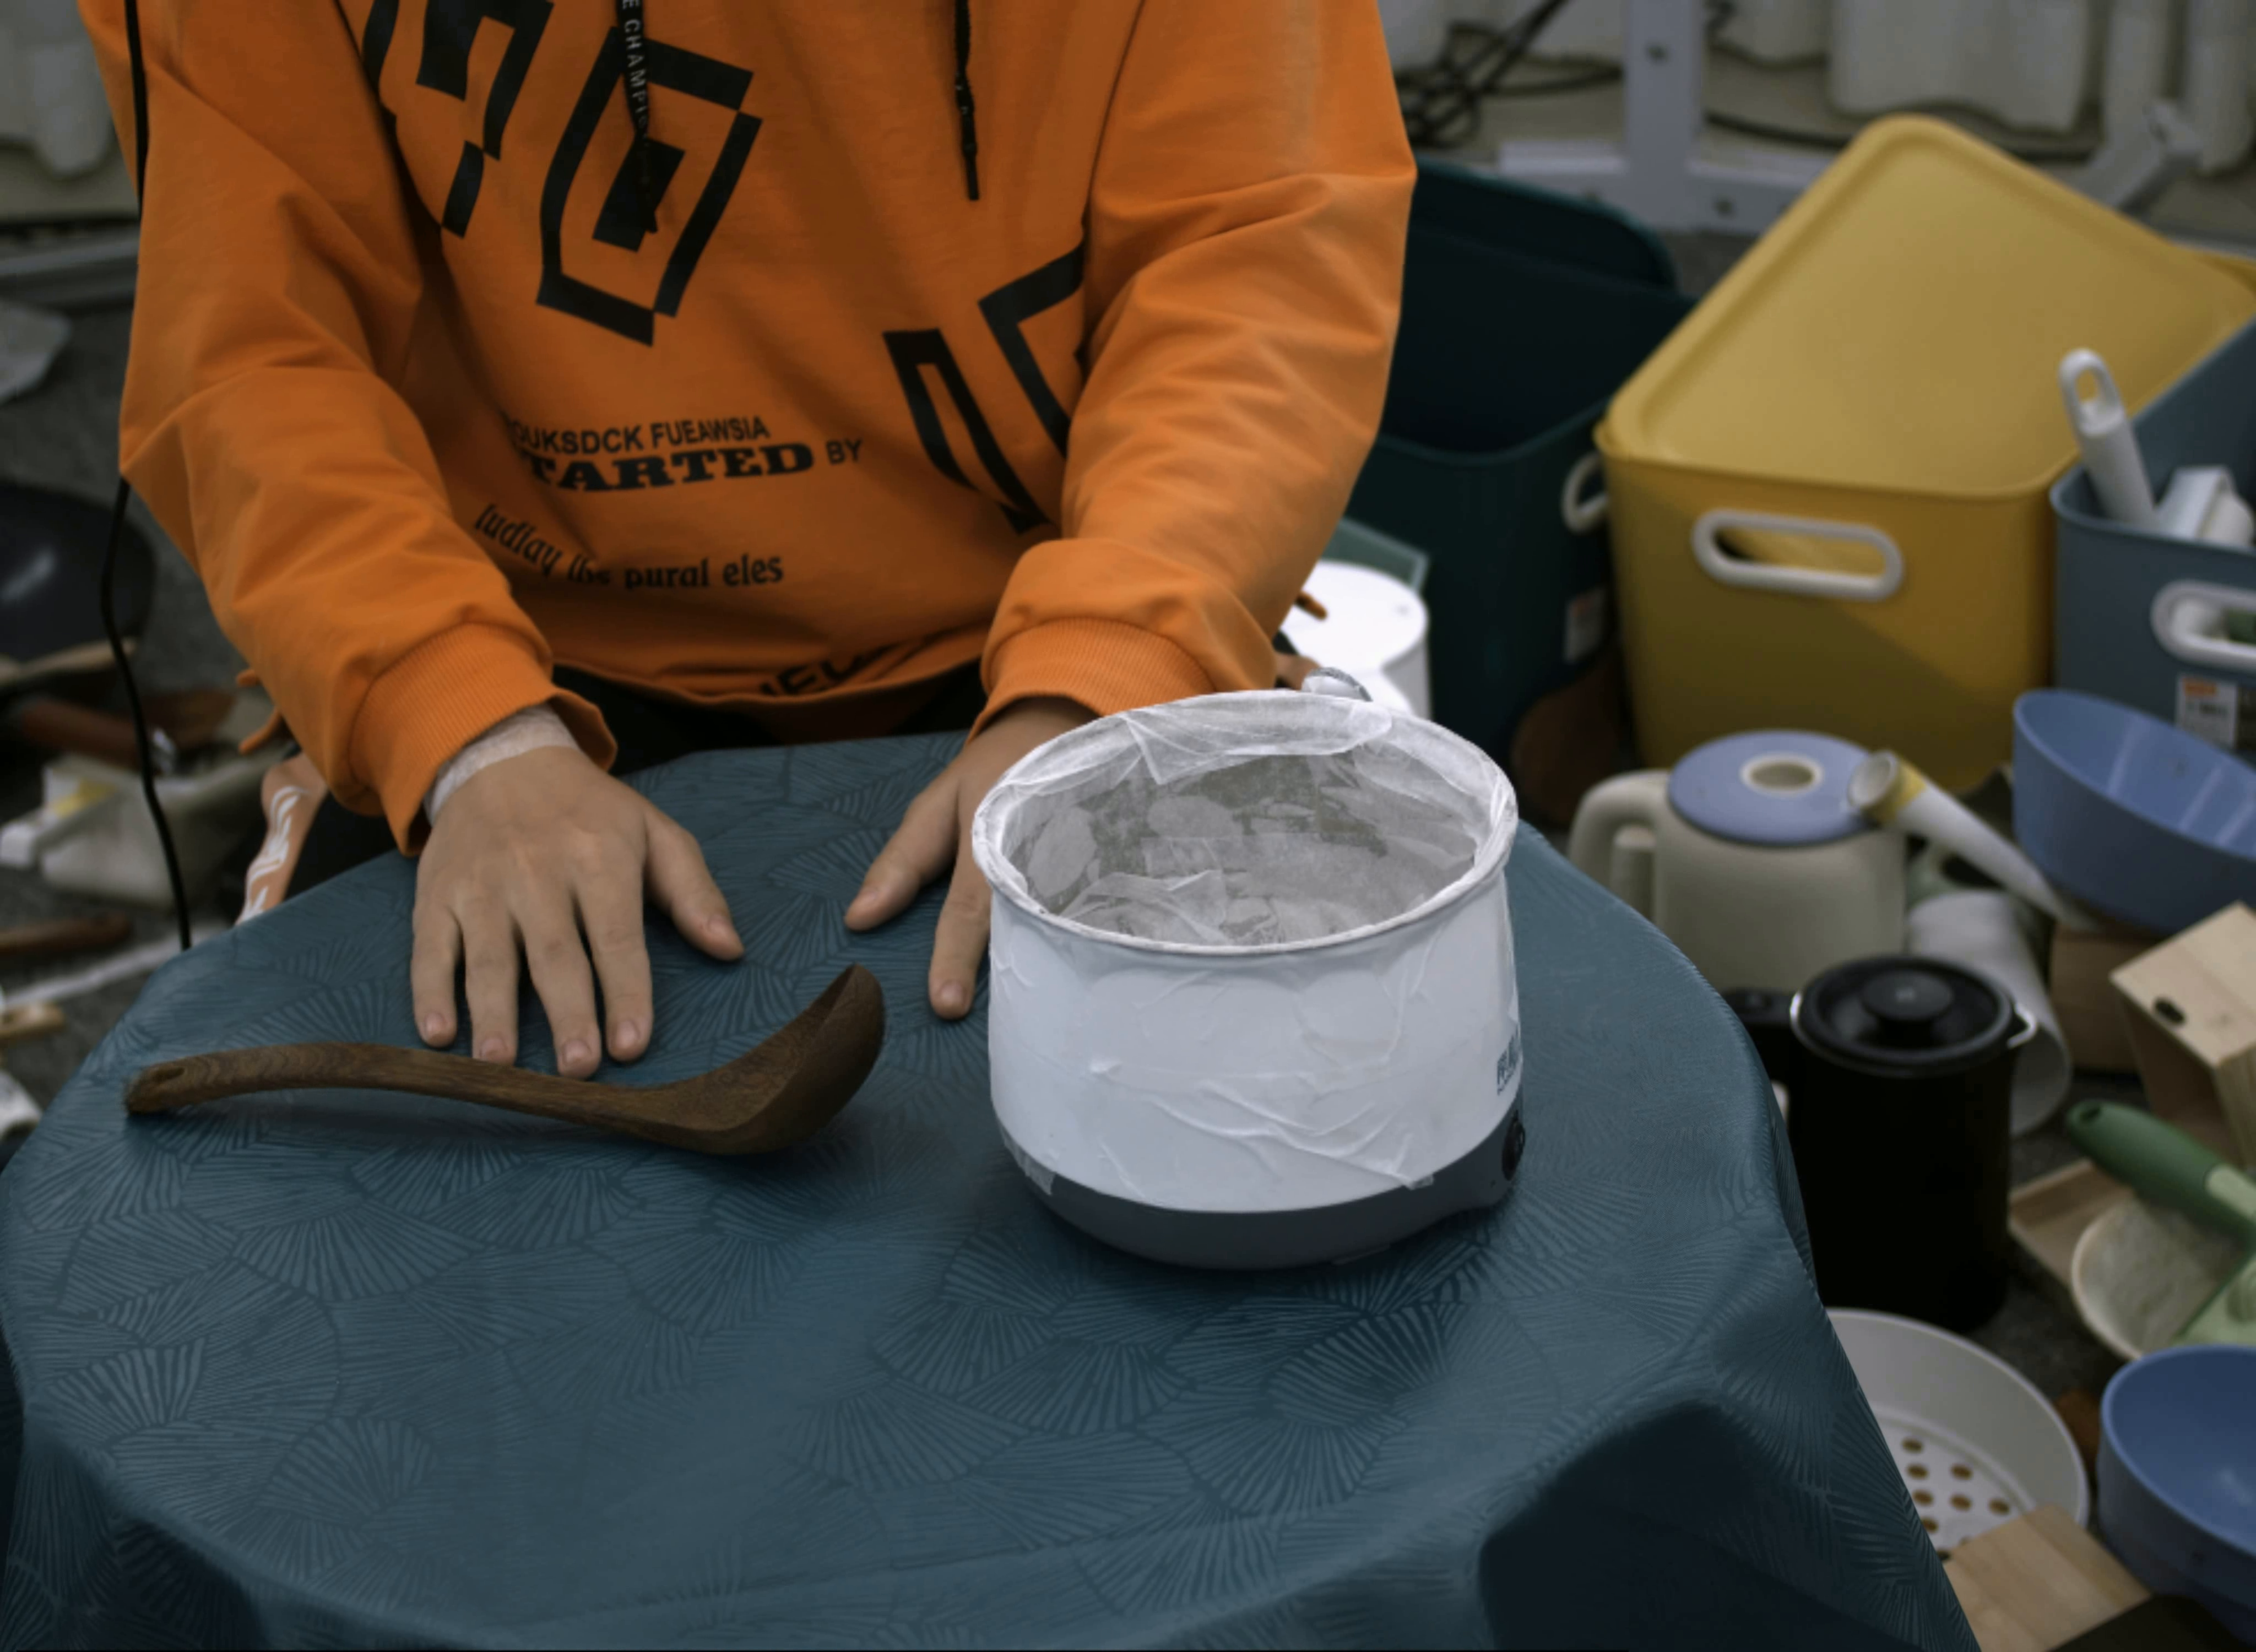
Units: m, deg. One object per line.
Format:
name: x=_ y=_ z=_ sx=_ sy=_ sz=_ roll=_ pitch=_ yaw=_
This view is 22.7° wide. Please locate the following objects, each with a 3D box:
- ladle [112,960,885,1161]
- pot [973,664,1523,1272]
ladle: x=-0.216 y=0.073 z=1.902 sx=0.272 sy=0.071 sz=0.077 roll=4 pitch=22 yaw=11
pot: x=0.048 y=0.039 z=1.868 sx=0.177 sy=0.135 sz=0.238 roll=5 pitch=29 yaw=15
